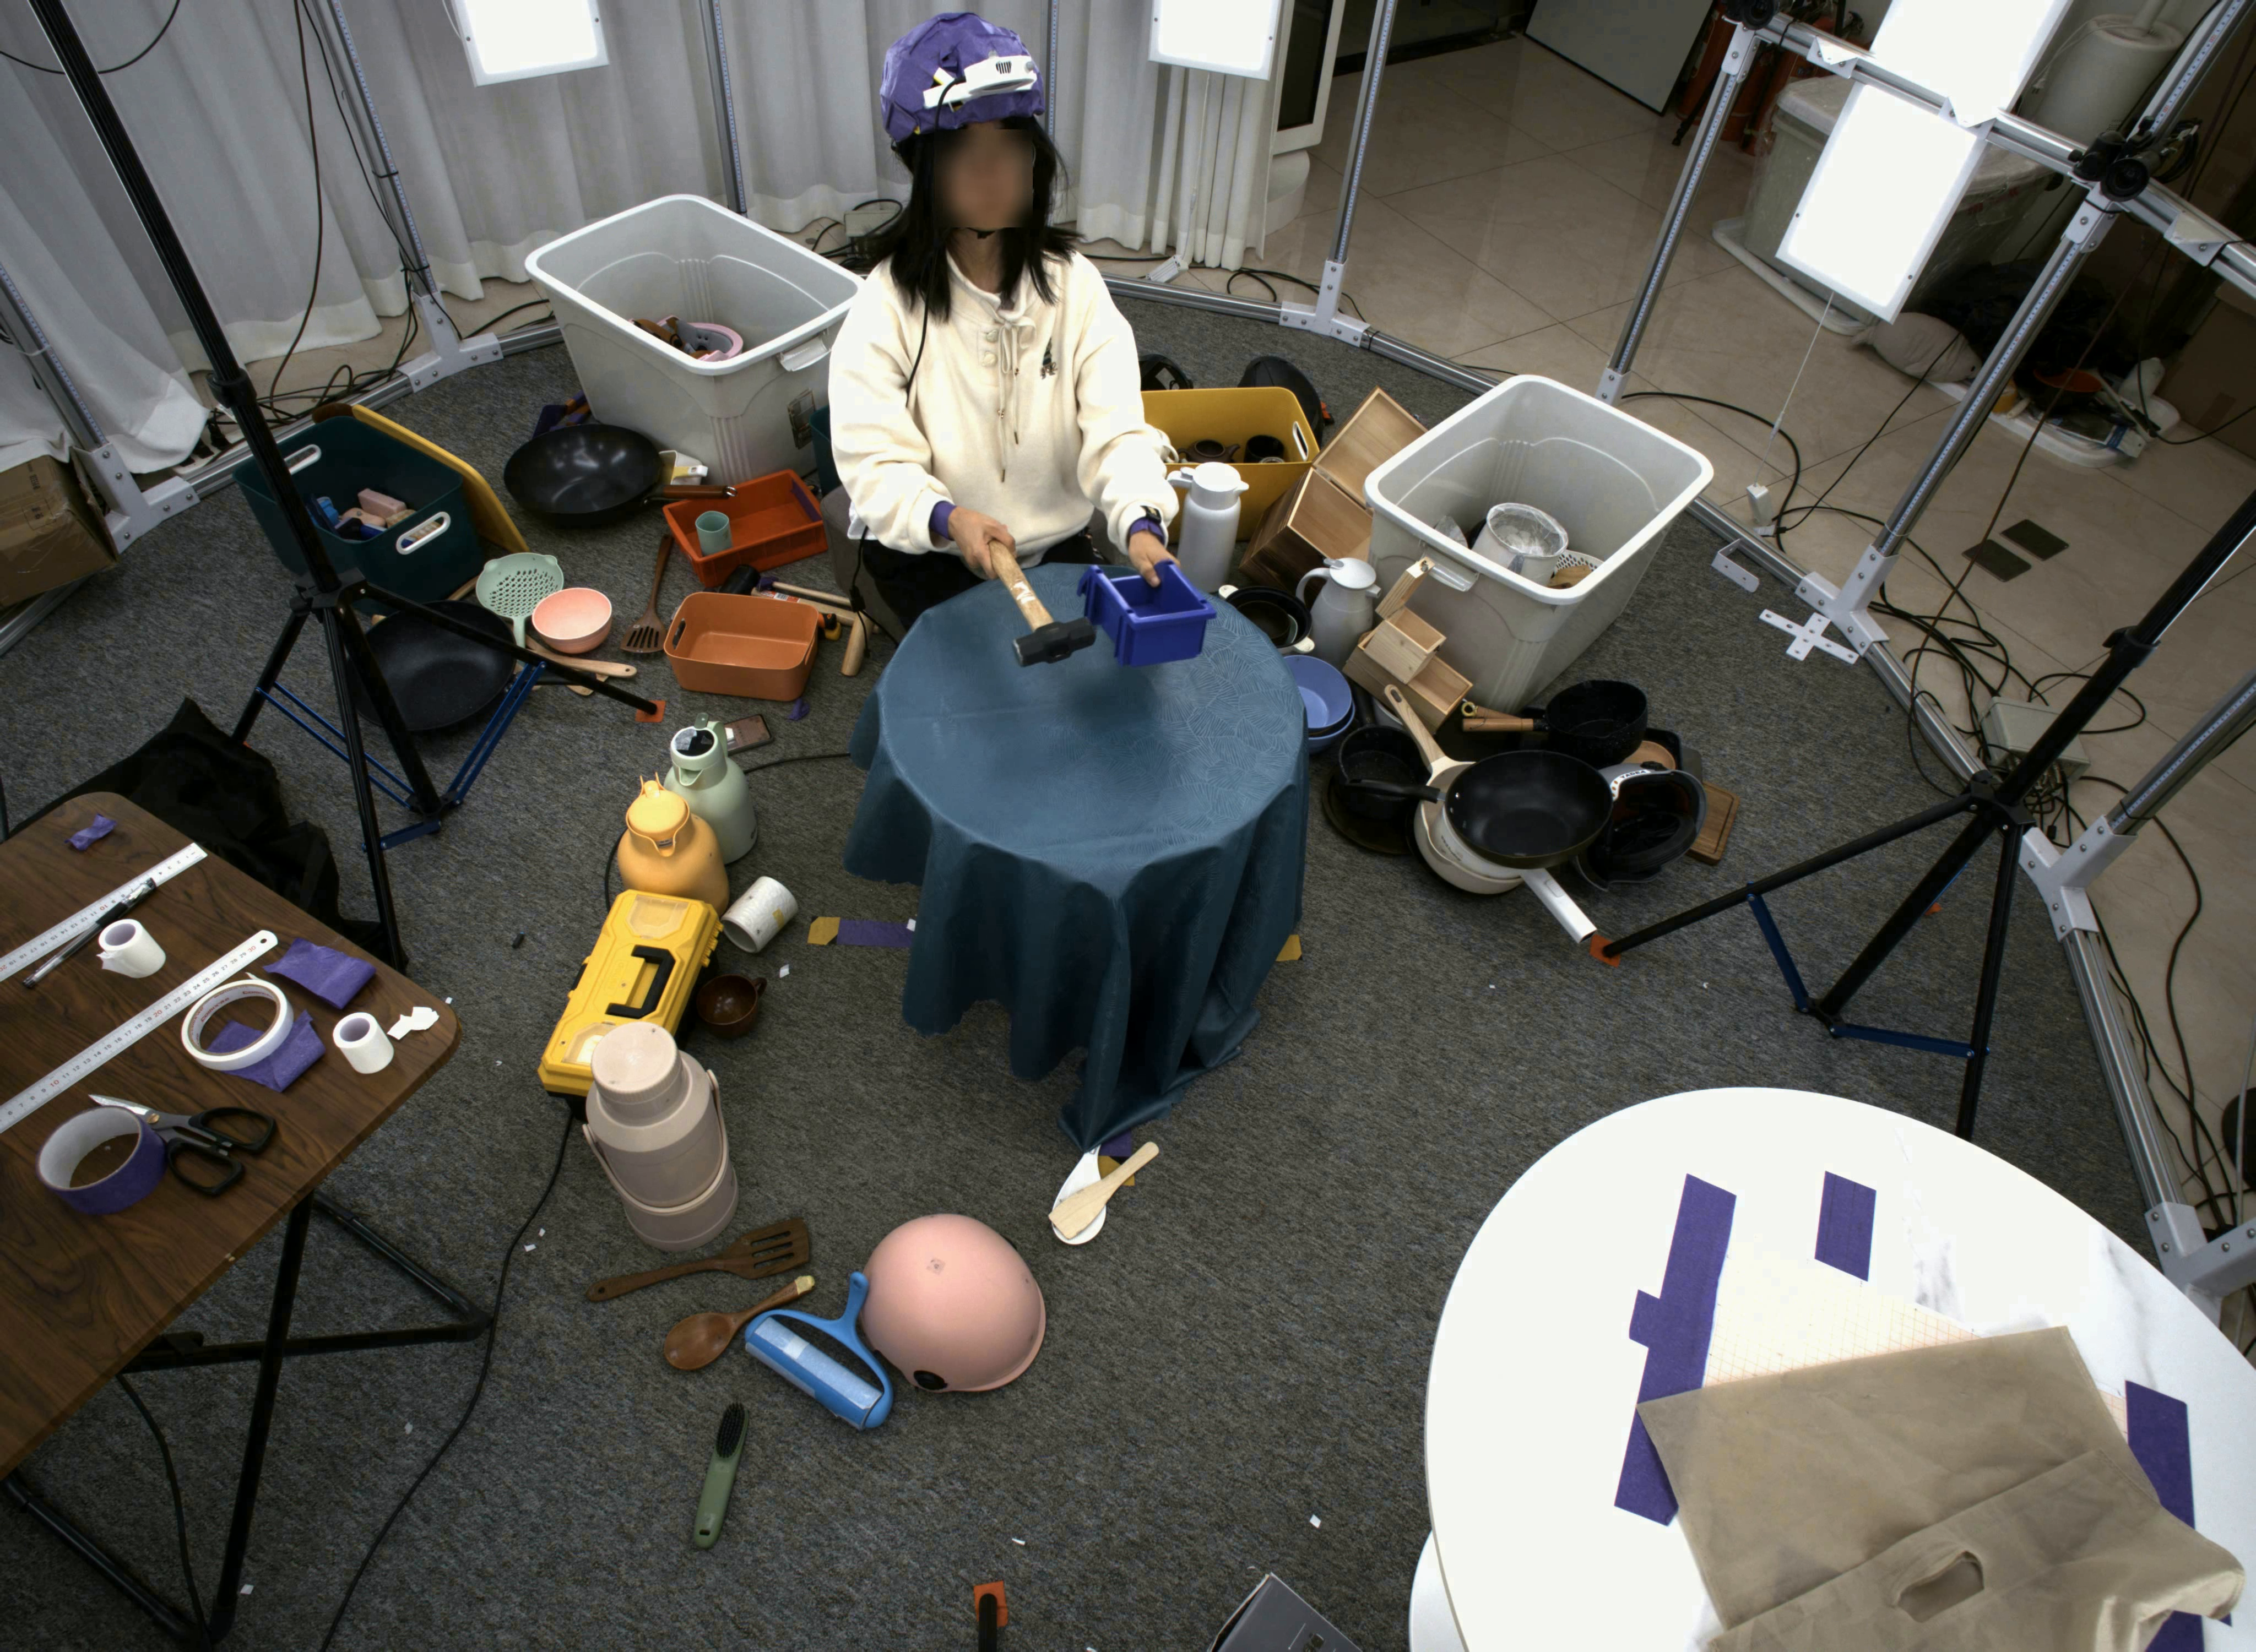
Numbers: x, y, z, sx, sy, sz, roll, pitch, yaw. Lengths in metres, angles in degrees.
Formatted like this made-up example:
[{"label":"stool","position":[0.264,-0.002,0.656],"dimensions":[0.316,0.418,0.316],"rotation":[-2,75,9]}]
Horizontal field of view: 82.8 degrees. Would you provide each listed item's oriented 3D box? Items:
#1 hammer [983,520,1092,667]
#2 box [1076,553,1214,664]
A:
[{"label":"hammer","position":[-0.146,-0.331,1.776],"dimensions":[0.107,0.037,0.312],"rotation":[-18,47,-9]},{"label":"box","position":[0.018,-0.301,1.746],"dimensions":[0.124,0.080,0.183],"rotation":[-11,45,-22]}]
